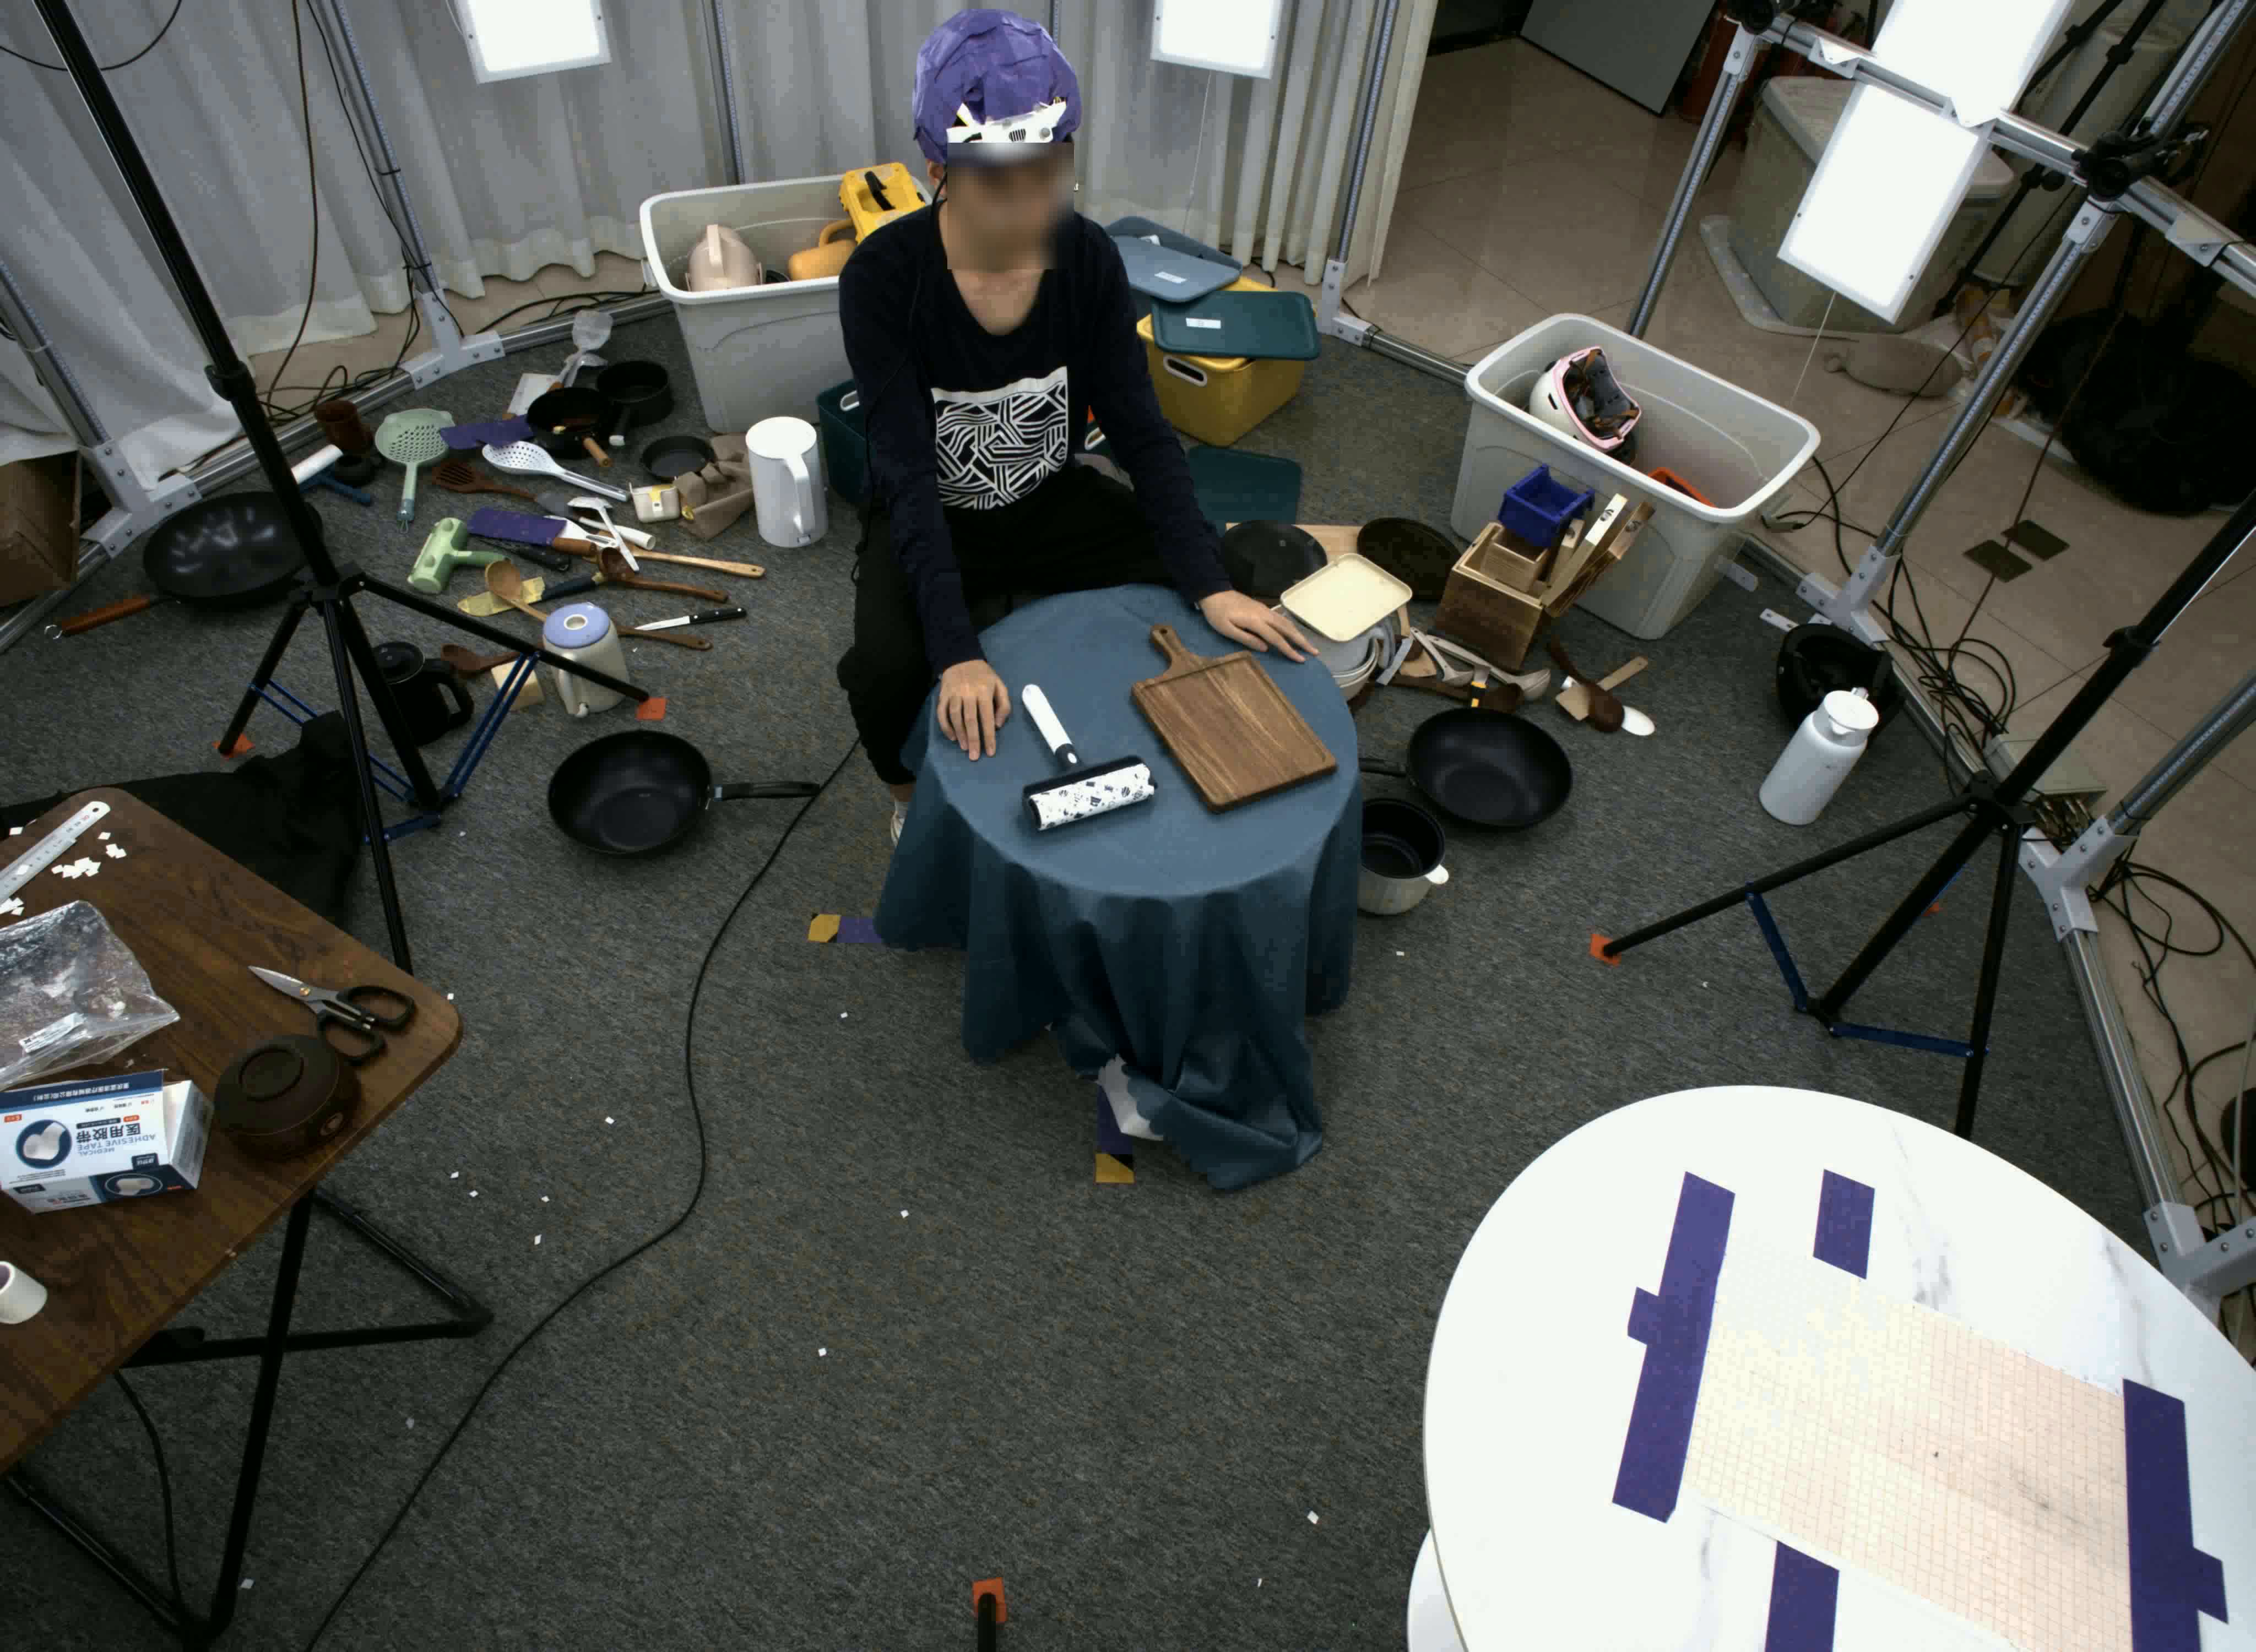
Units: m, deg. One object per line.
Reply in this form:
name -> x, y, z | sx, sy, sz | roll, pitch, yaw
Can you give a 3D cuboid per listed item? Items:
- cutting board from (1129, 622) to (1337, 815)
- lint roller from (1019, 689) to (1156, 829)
cutting board -> 0.121, -0.173, 1.811 | 0.201, 0.022, 0.360 | -19, 53, -20
lint roller -> -0.092, -0.109, 1.728 | 0.176, 0.049, 0.253 | -18, 51, -18
